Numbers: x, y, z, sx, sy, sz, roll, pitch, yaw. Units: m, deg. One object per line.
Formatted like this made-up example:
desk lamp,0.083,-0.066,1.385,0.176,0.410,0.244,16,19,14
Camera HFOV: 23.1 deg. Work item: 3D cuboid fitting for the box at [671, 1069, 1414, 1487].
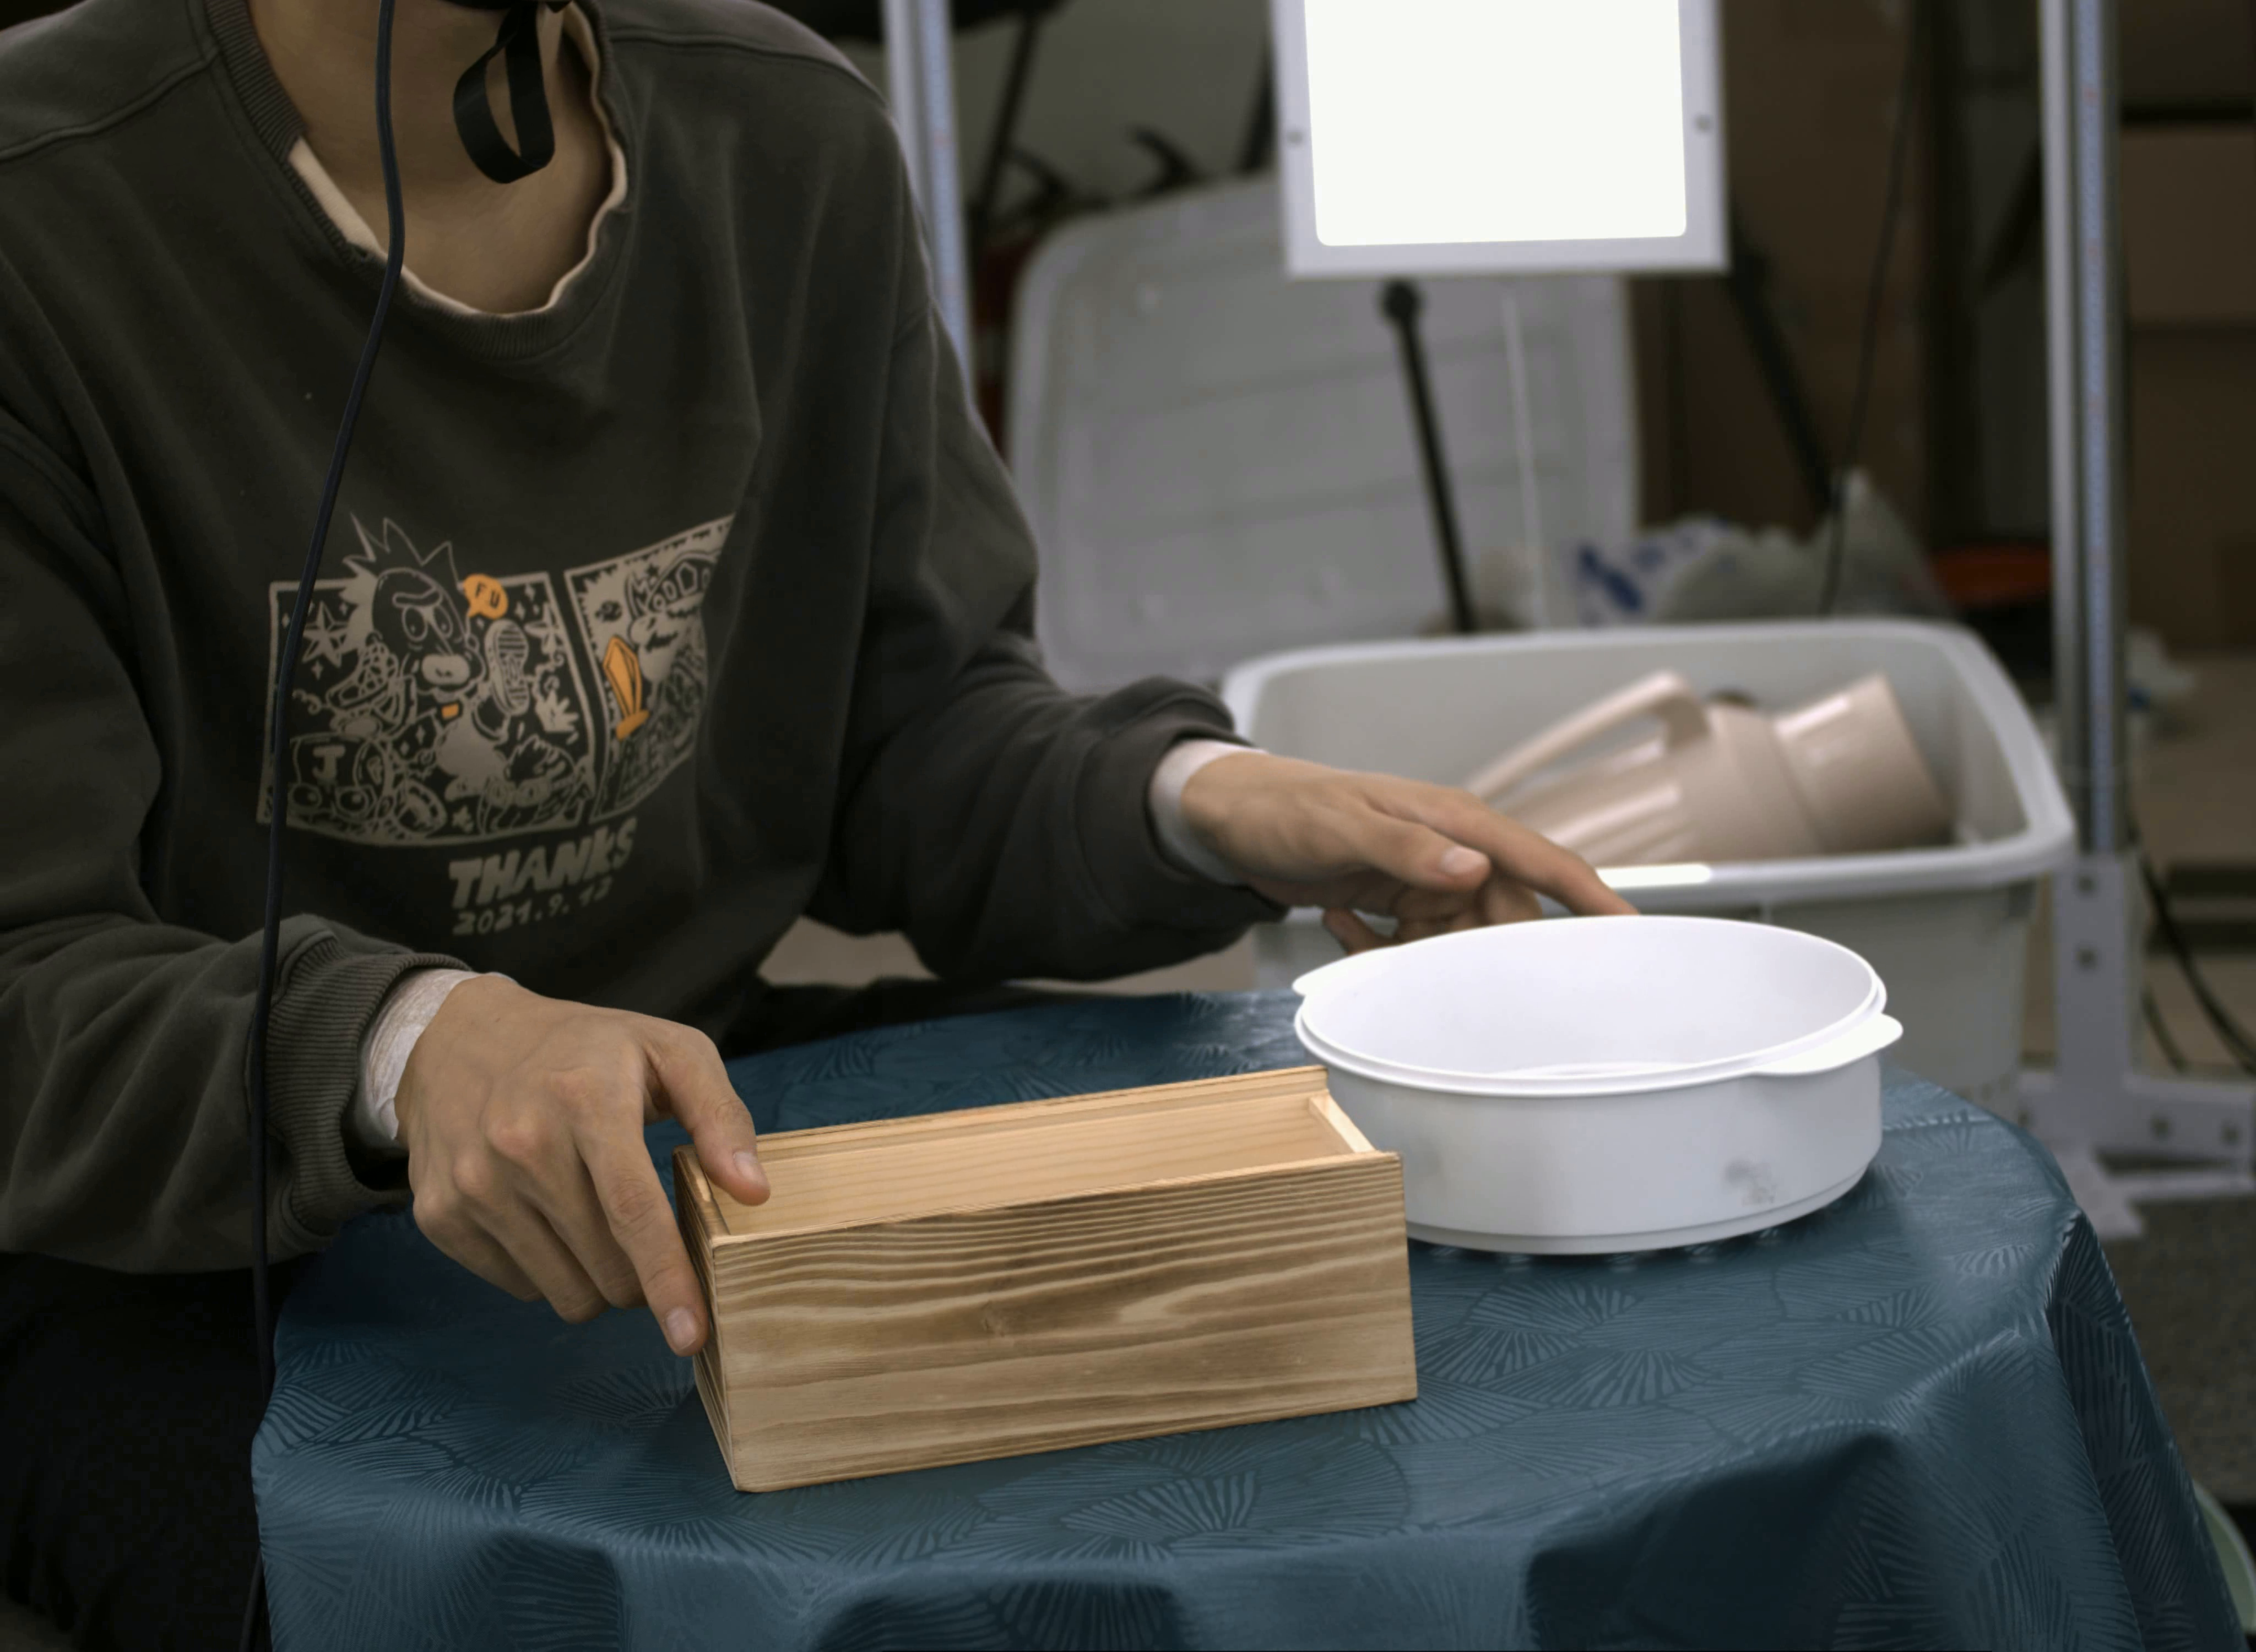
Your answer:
box,-0.028,0.137,1.697,0.209,0.080,0.108,-7,13,-8

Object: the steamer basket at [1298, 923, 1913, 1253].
steamer basket,0.161,0.088,1.853,0.235,0.069,0.197,6,17,43
